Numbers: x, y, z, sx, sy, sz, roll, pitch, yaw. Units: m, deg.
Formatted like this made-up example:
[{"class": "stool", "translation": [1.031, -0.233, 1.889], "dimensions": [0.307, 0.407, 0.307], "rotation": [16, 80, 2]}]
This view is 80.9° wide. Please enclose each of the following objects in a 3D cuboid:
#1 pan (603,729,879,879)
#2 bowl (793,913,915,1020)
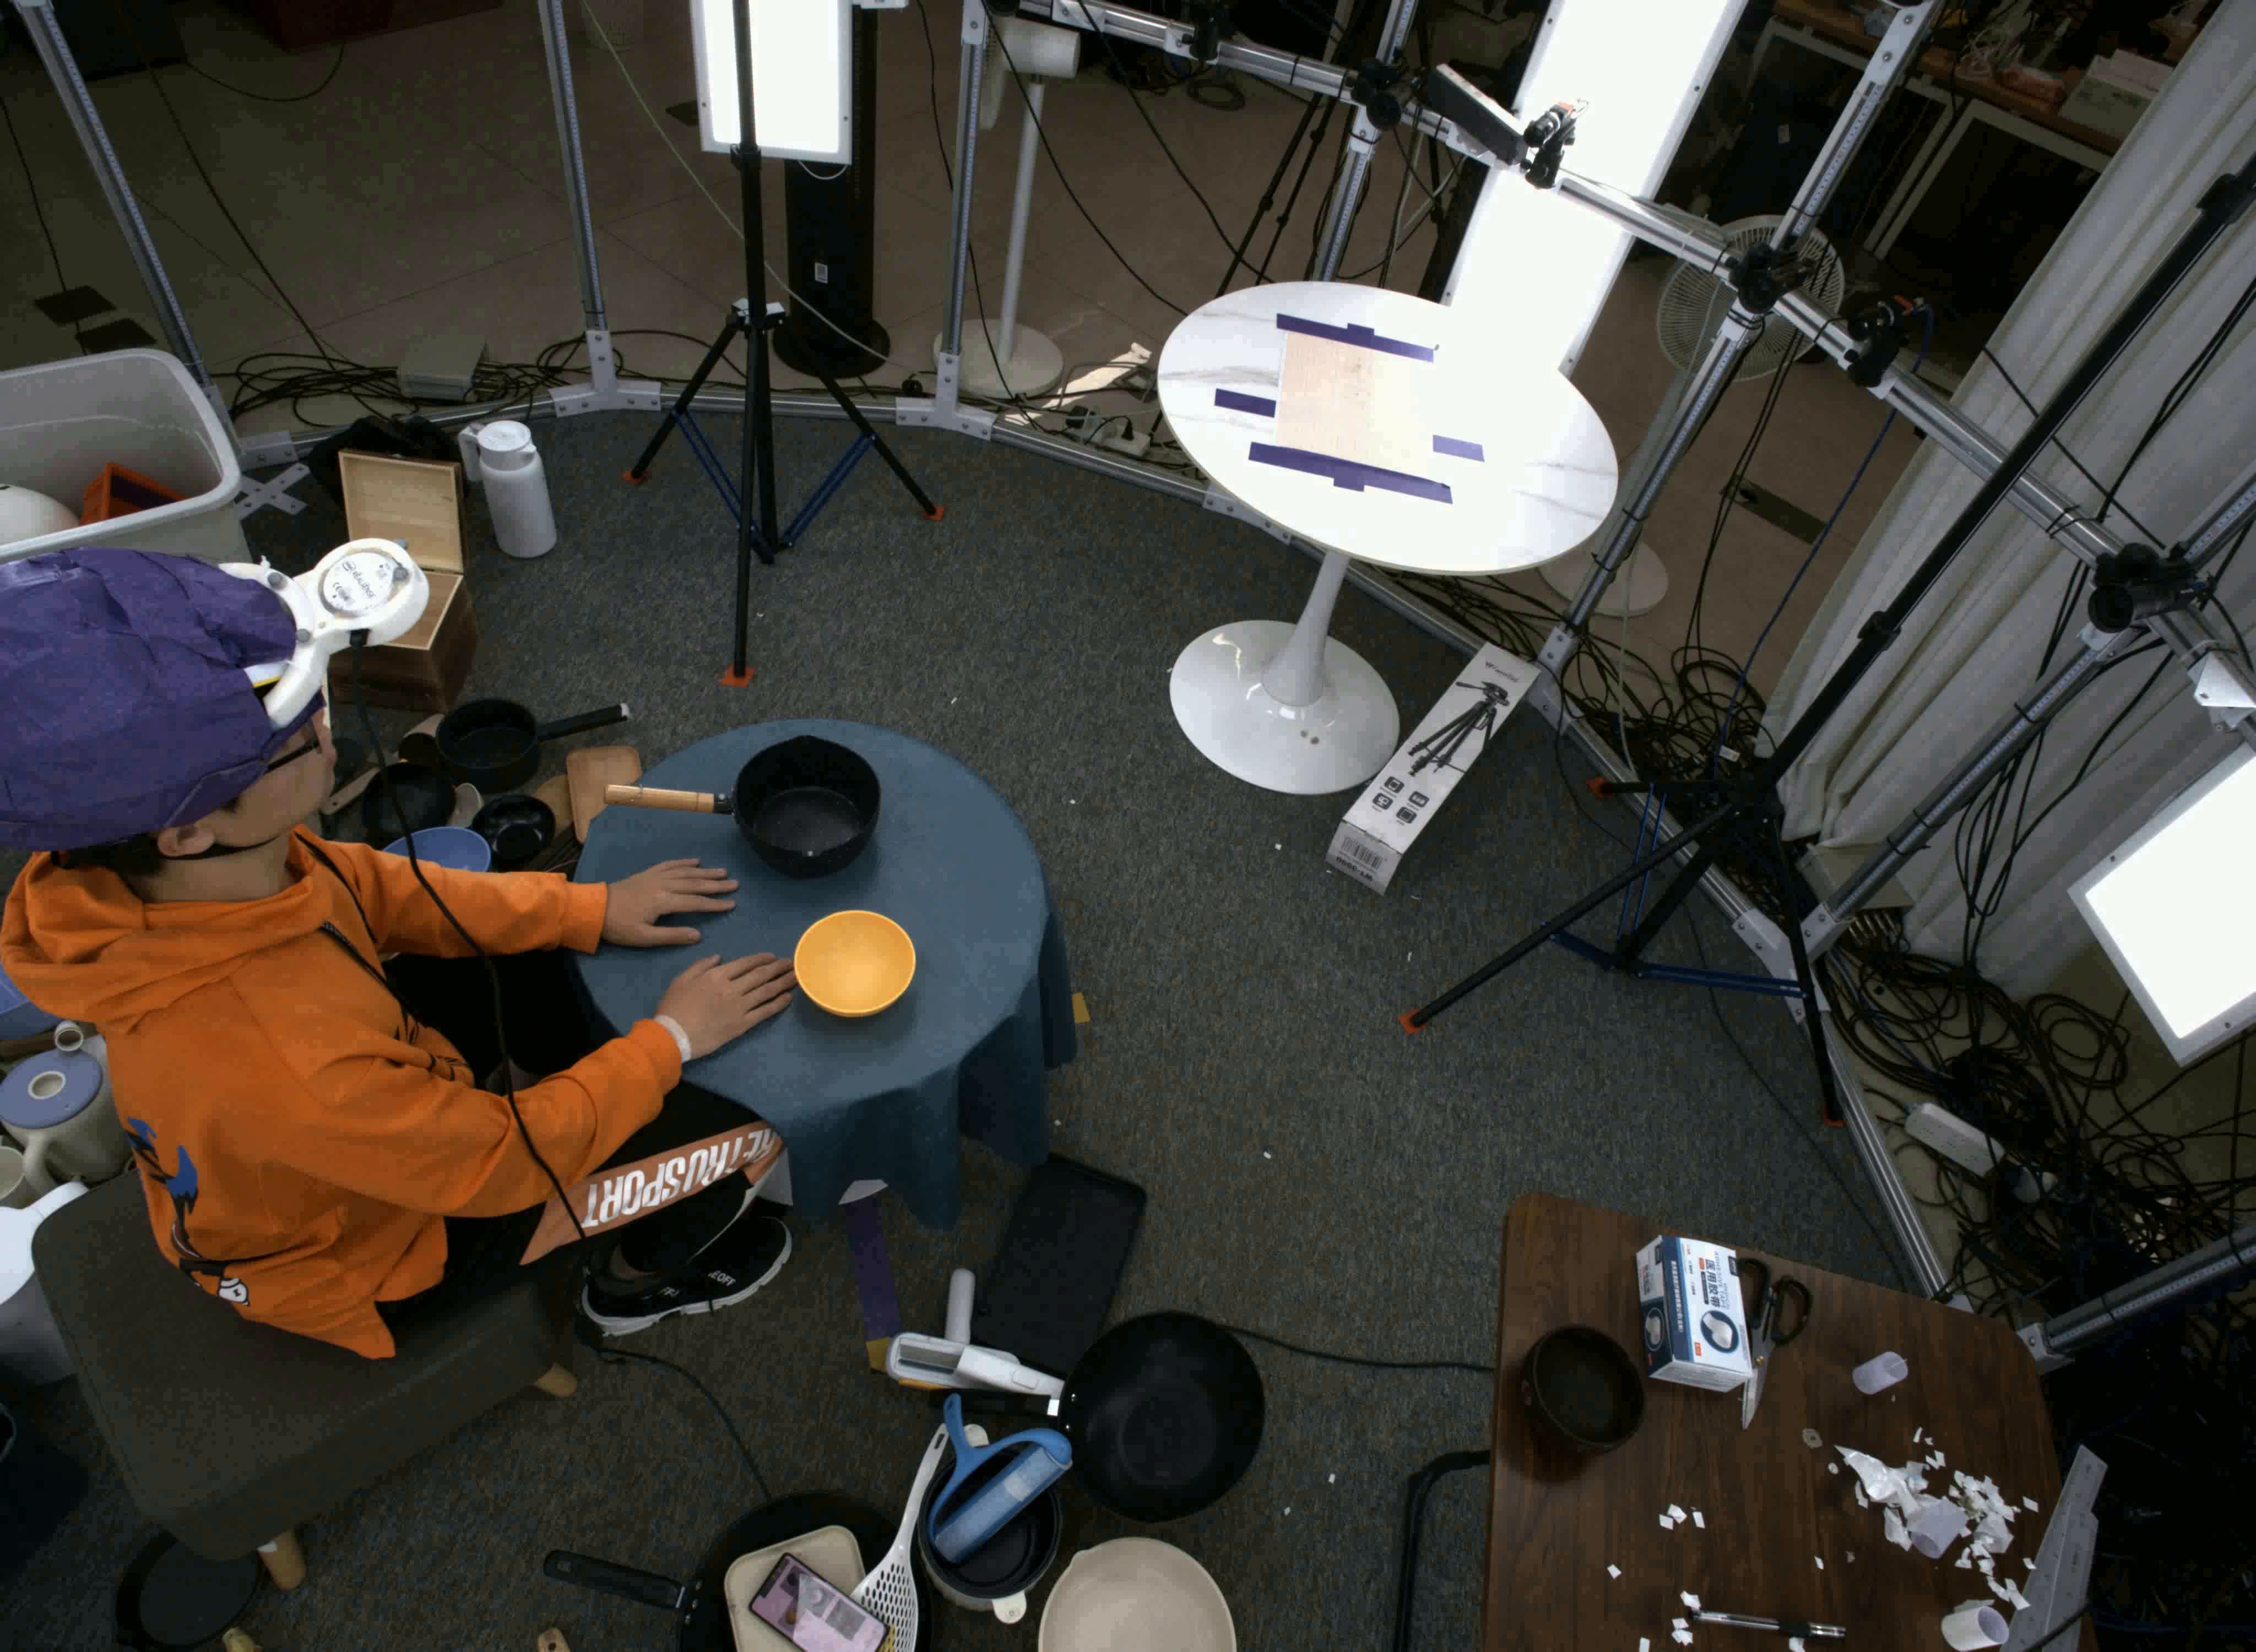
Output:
[{"class": "pan", "translation": [-0.490, -0.021, 1.642], "dimensions": [0.344, 0.110, 0.203], "rotation": [-3, 56, -18]}, {"class": "bowl", "translation": [-0.330, 0.178, 1.568], "dimensions": [0.145, 0.061, 0.142], "rotation": [8, 51, -8]}]
